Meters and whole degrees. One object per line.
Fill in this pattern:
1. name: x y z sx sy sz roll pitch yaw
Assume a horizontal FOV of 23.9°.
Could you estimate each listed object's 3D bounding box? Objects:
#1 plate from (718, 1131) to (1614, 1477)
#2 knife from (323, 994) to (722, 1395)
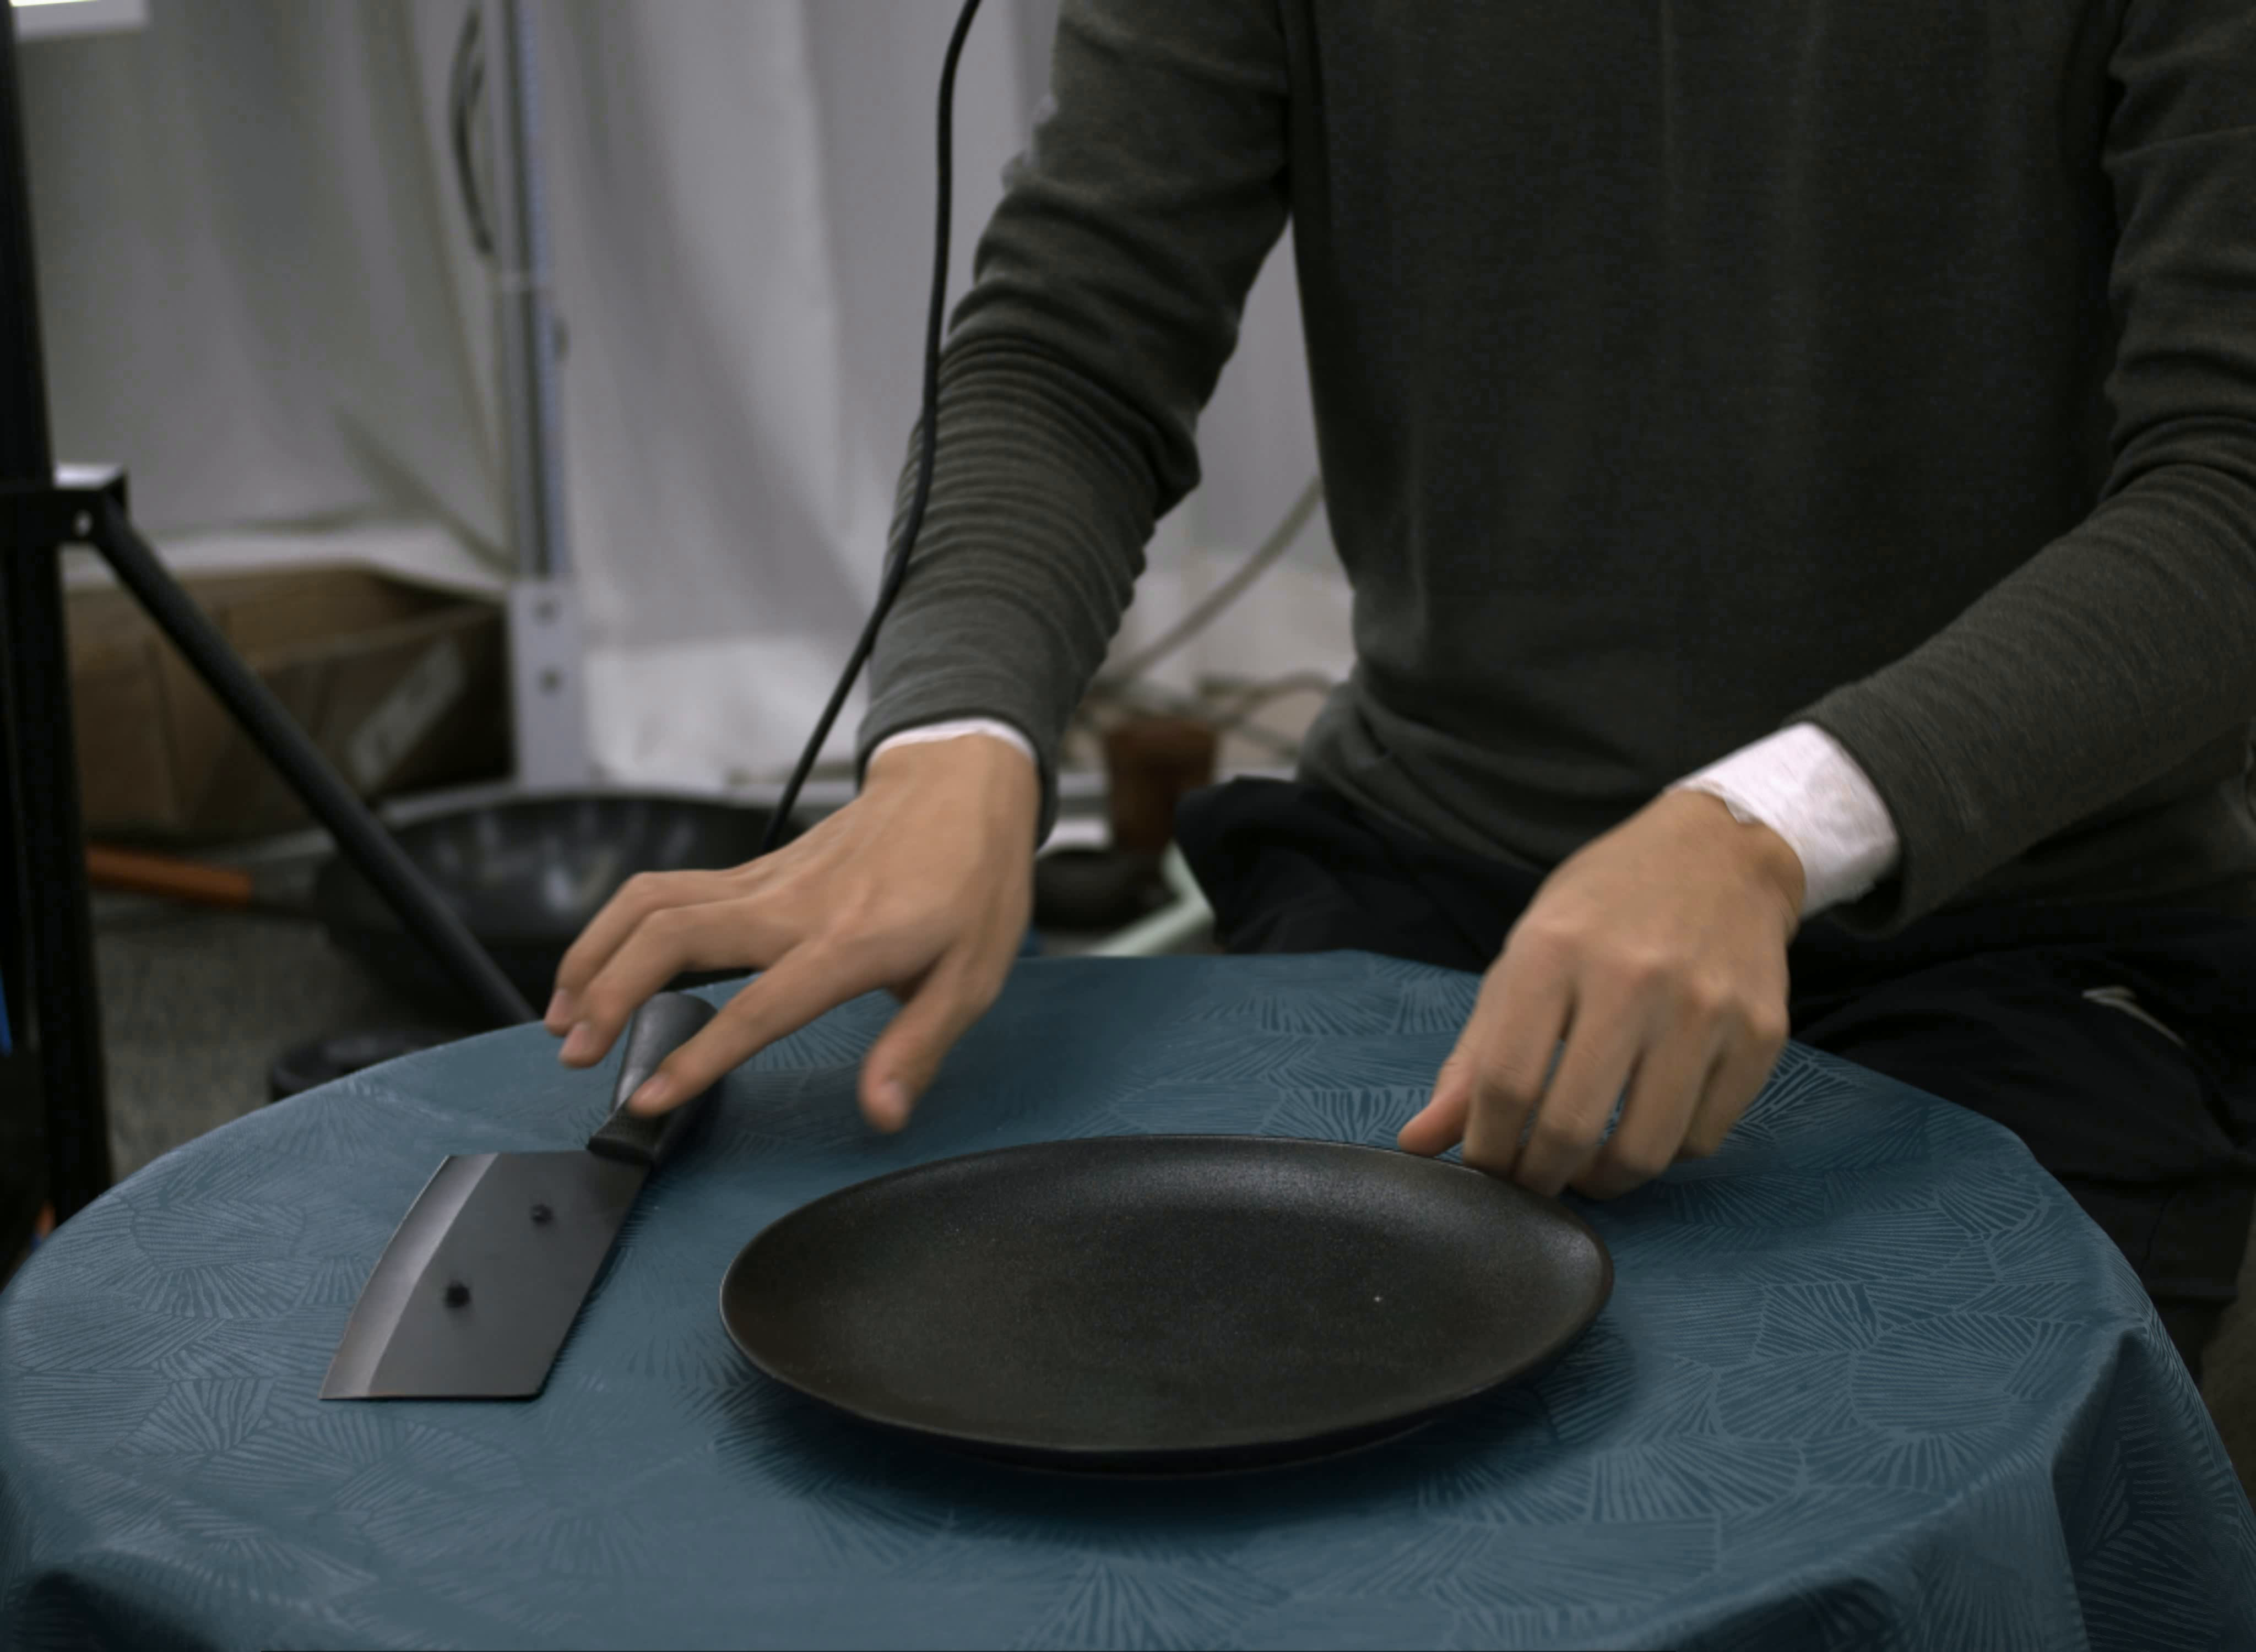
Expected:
1. plate: 0.010 0.132 1.435 0.243 0.023 0.245 -3 16 -1
2. knife: -0.170 0.107 1.568 0.081 0.021 0.301 0 18 11
